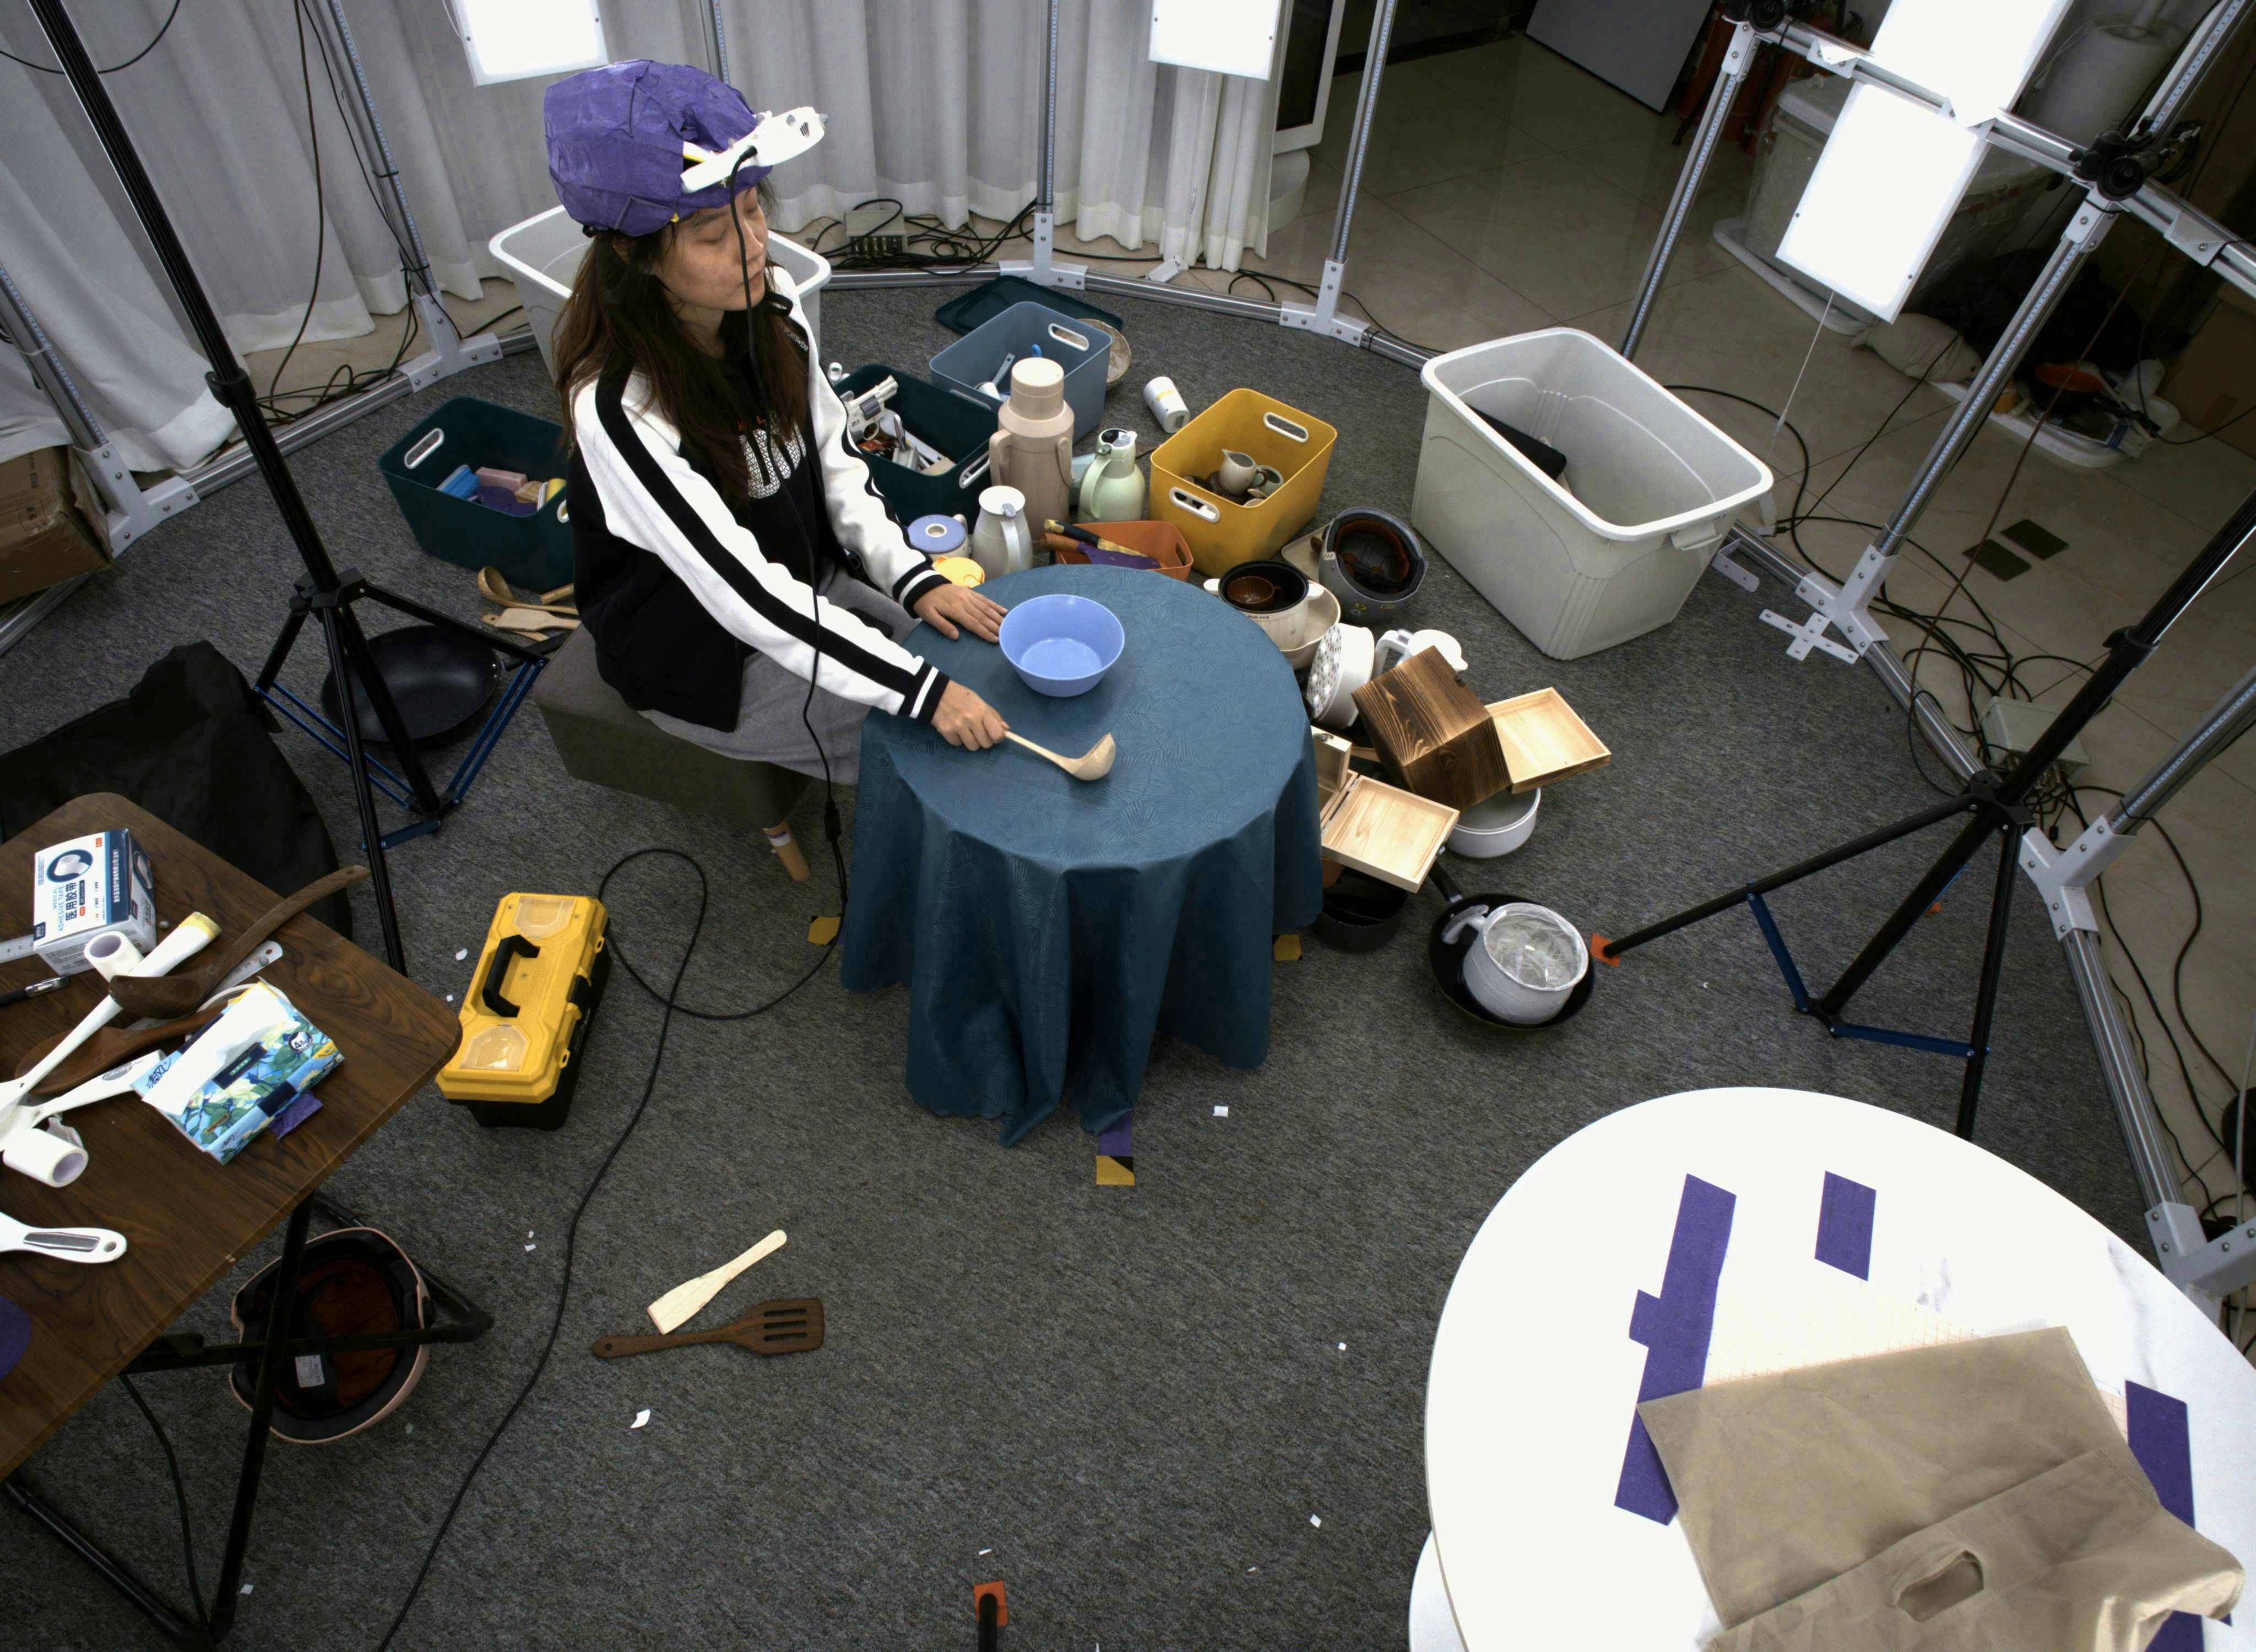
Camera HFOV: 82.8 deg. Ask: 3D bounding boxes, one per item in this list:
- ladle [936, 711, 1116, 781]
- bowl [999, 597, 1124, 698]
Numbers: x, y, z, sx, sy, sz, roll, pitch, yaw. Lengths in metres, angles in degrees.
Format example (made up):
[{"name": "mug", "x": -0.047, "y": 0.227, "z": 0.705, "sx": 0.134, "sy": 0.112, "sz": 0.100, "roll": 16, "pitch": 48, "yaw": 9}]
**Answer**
[{"name": "ladle", "x": -0.139, "y": -0.132, "z": 1.718, "sx": 0.255, "sy": 0.071, "sz": 0.073, "roll": 22, "pitch": 40, "yaw": 9}, {"name": "bowl", "x": -0.095, "y": -0.246, "z": 1.832, "sx": 0.176, "sy": 0.068, "sz": 0.180, "roll": 2, "pitch": 48, "yaw": -3}]
